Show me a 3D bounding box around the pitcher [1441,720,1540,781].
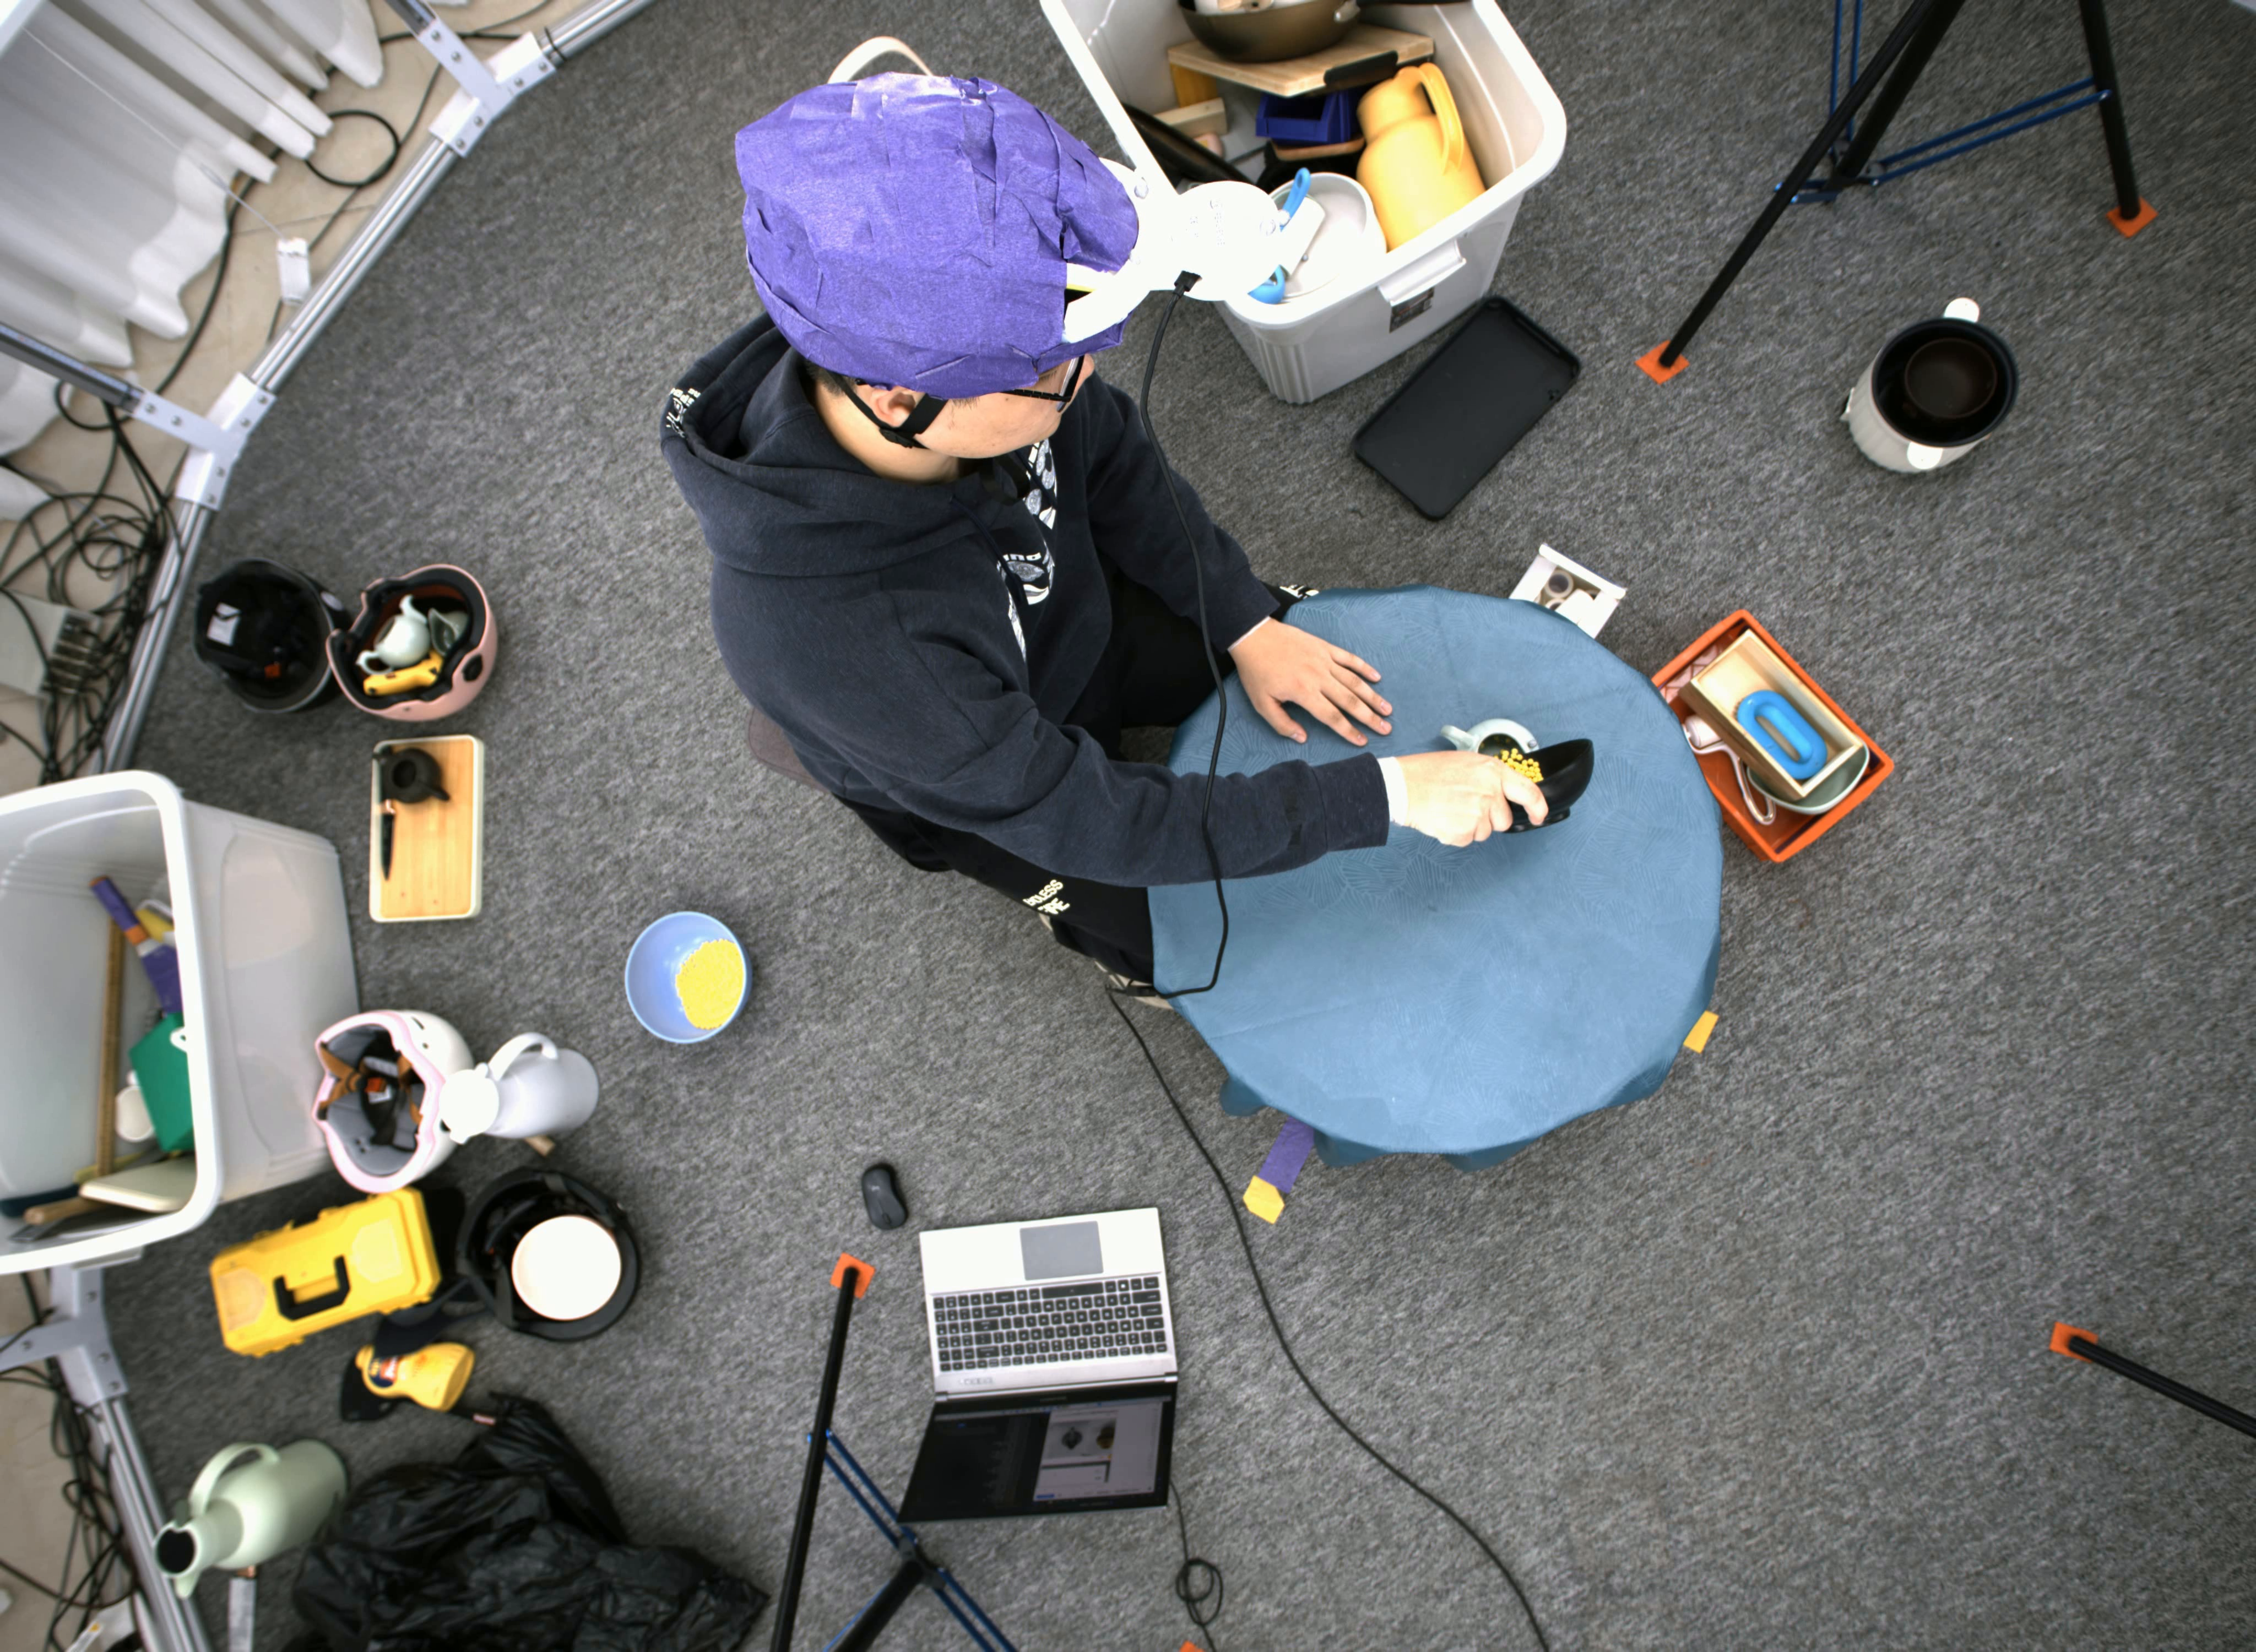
[{"bbox_3d":[0.374,-0.076,1.422,0.108,0.060,0.086,26,90,13],"label":"pitcher"}]

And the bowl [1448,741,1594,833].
[{"bbox_3d":[0.382,-0.035,1.310,0.138,0.168,0.067,-16,96,14],"label":"bowl"}]
